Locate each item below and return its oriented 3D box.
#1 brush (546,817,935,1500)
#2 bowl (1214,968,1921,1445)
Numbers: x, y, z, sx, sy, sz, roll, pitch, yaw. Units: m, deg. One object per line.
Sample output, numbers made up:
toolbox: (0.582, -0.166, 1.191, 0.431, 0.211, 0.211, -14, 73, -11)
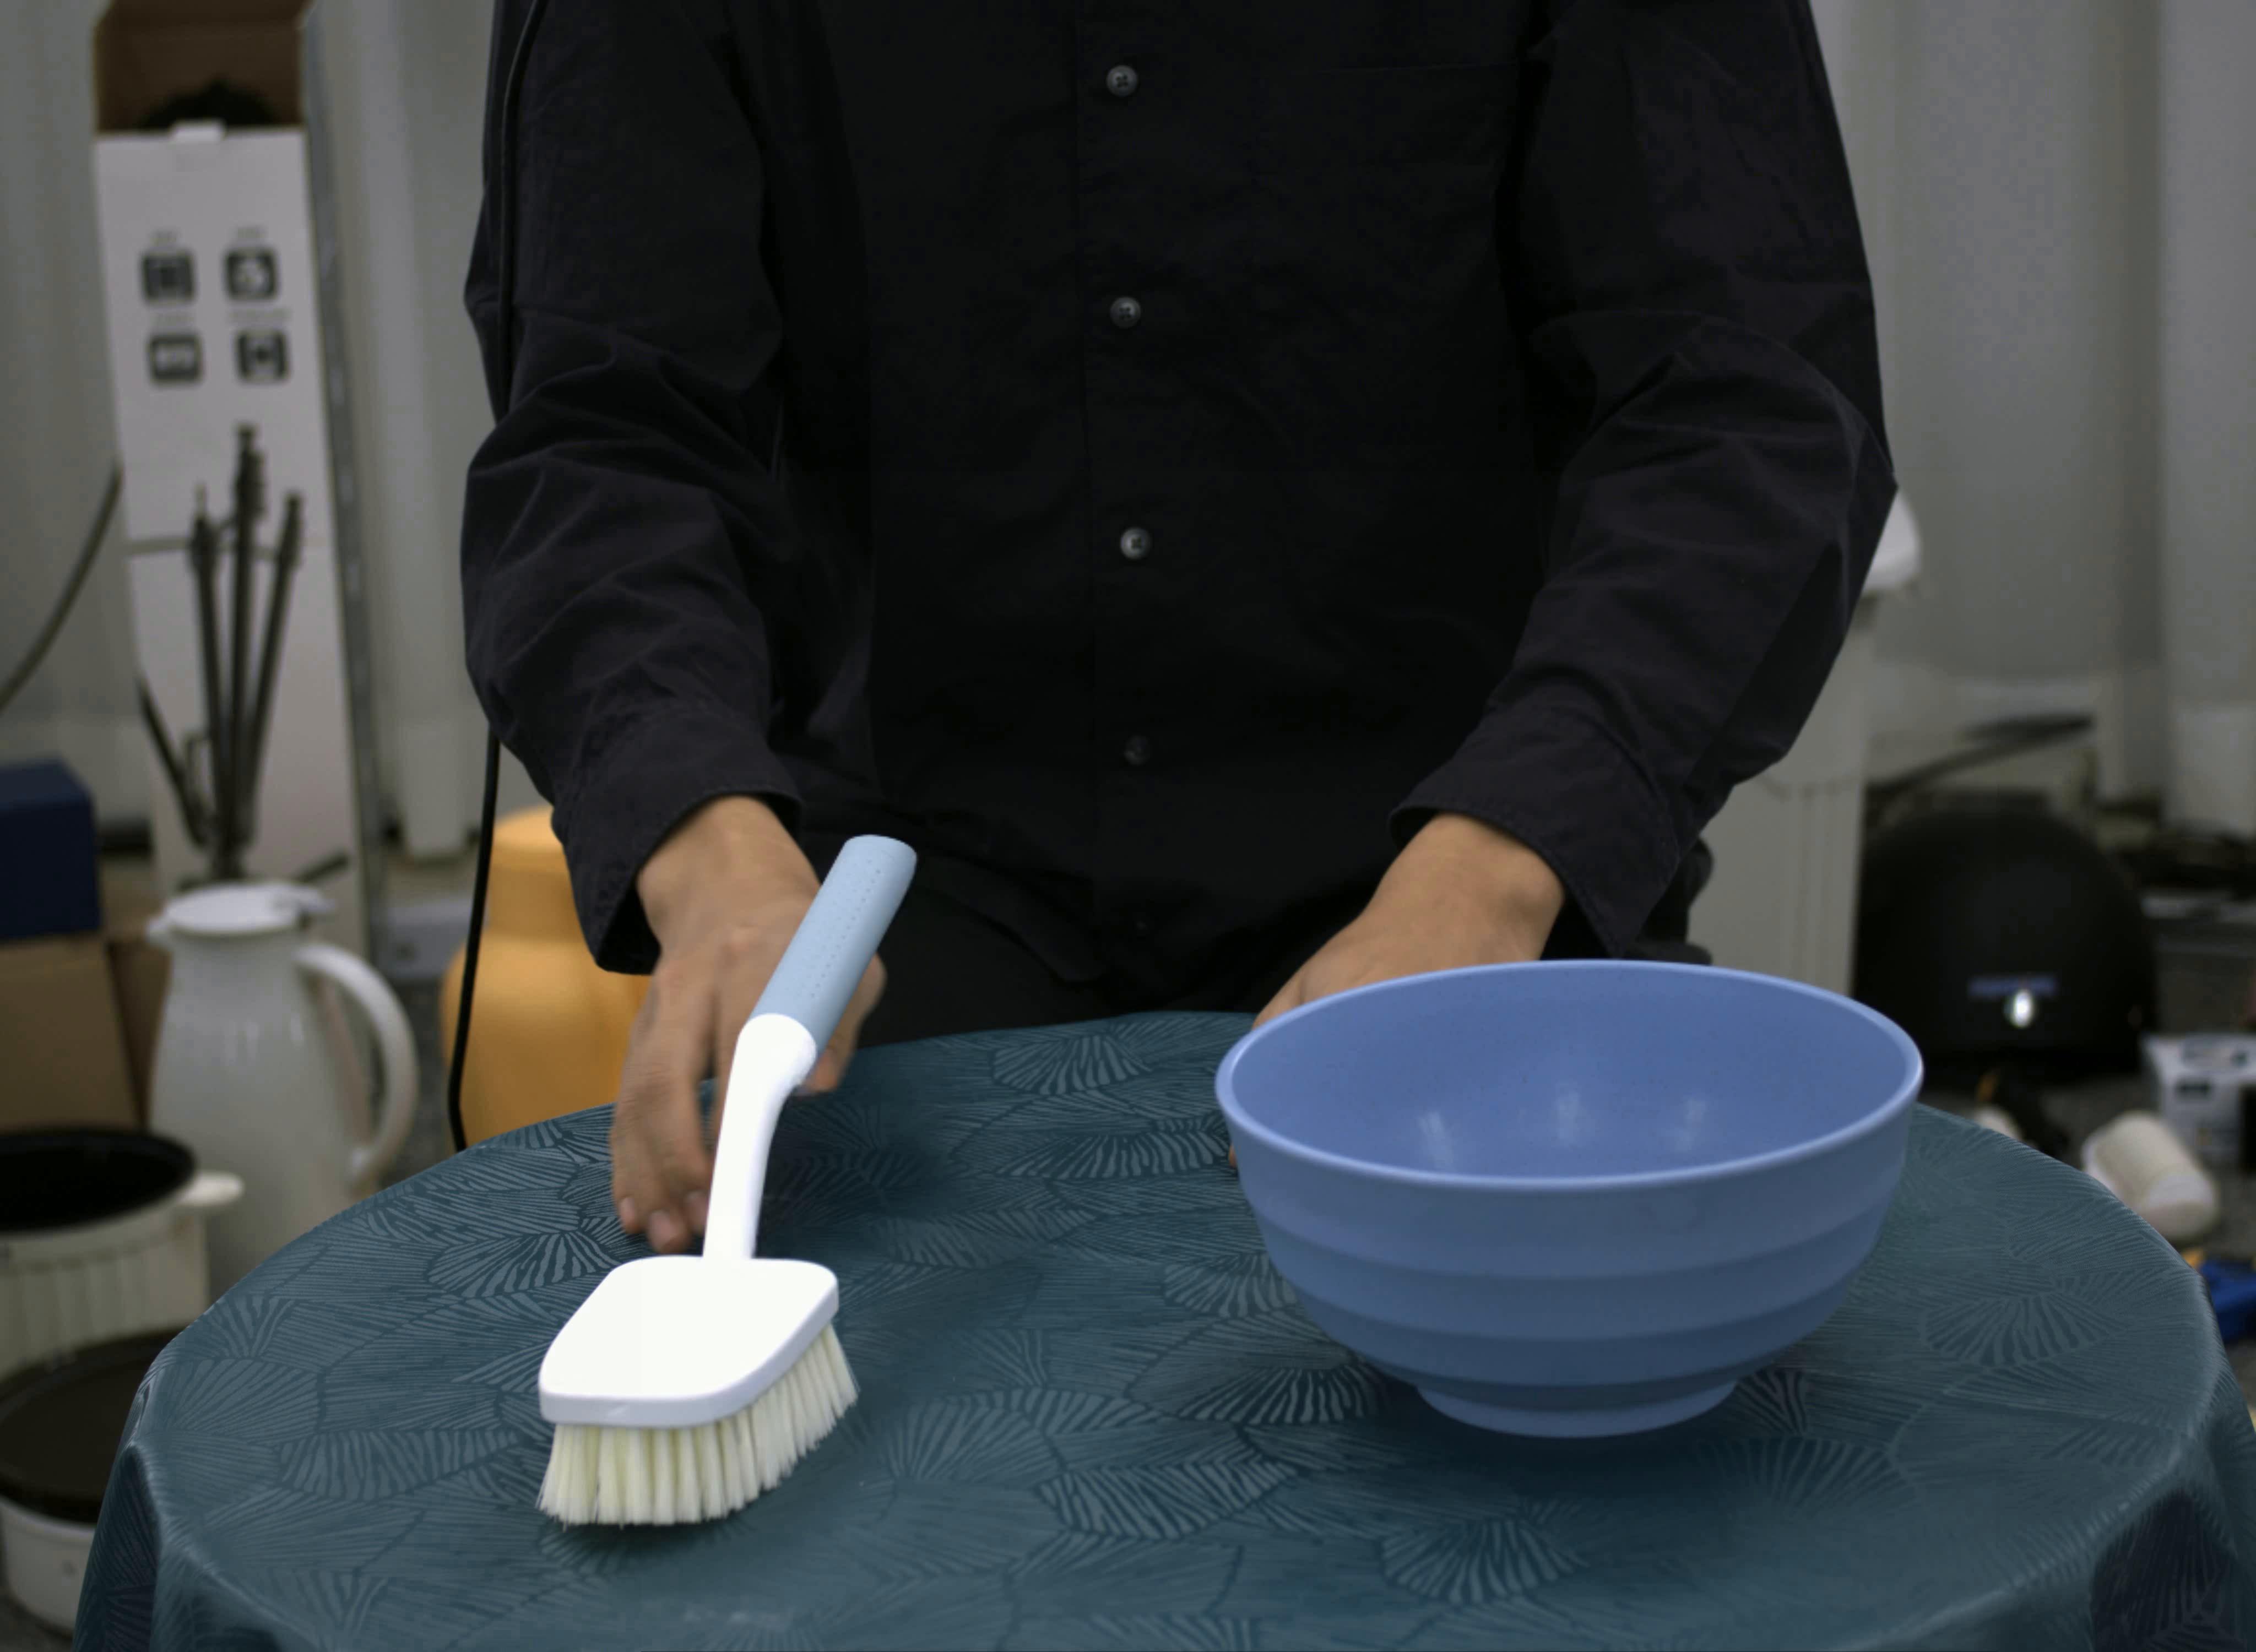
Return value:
brush: (-0.098, 0.109, 1.598, 0.083, 0.084, 0.328, 33, 30, -5)
bowl: (0.124, 0.112, 1.530, 0.196, 0.095, 0.198, -3, 15, 1)
